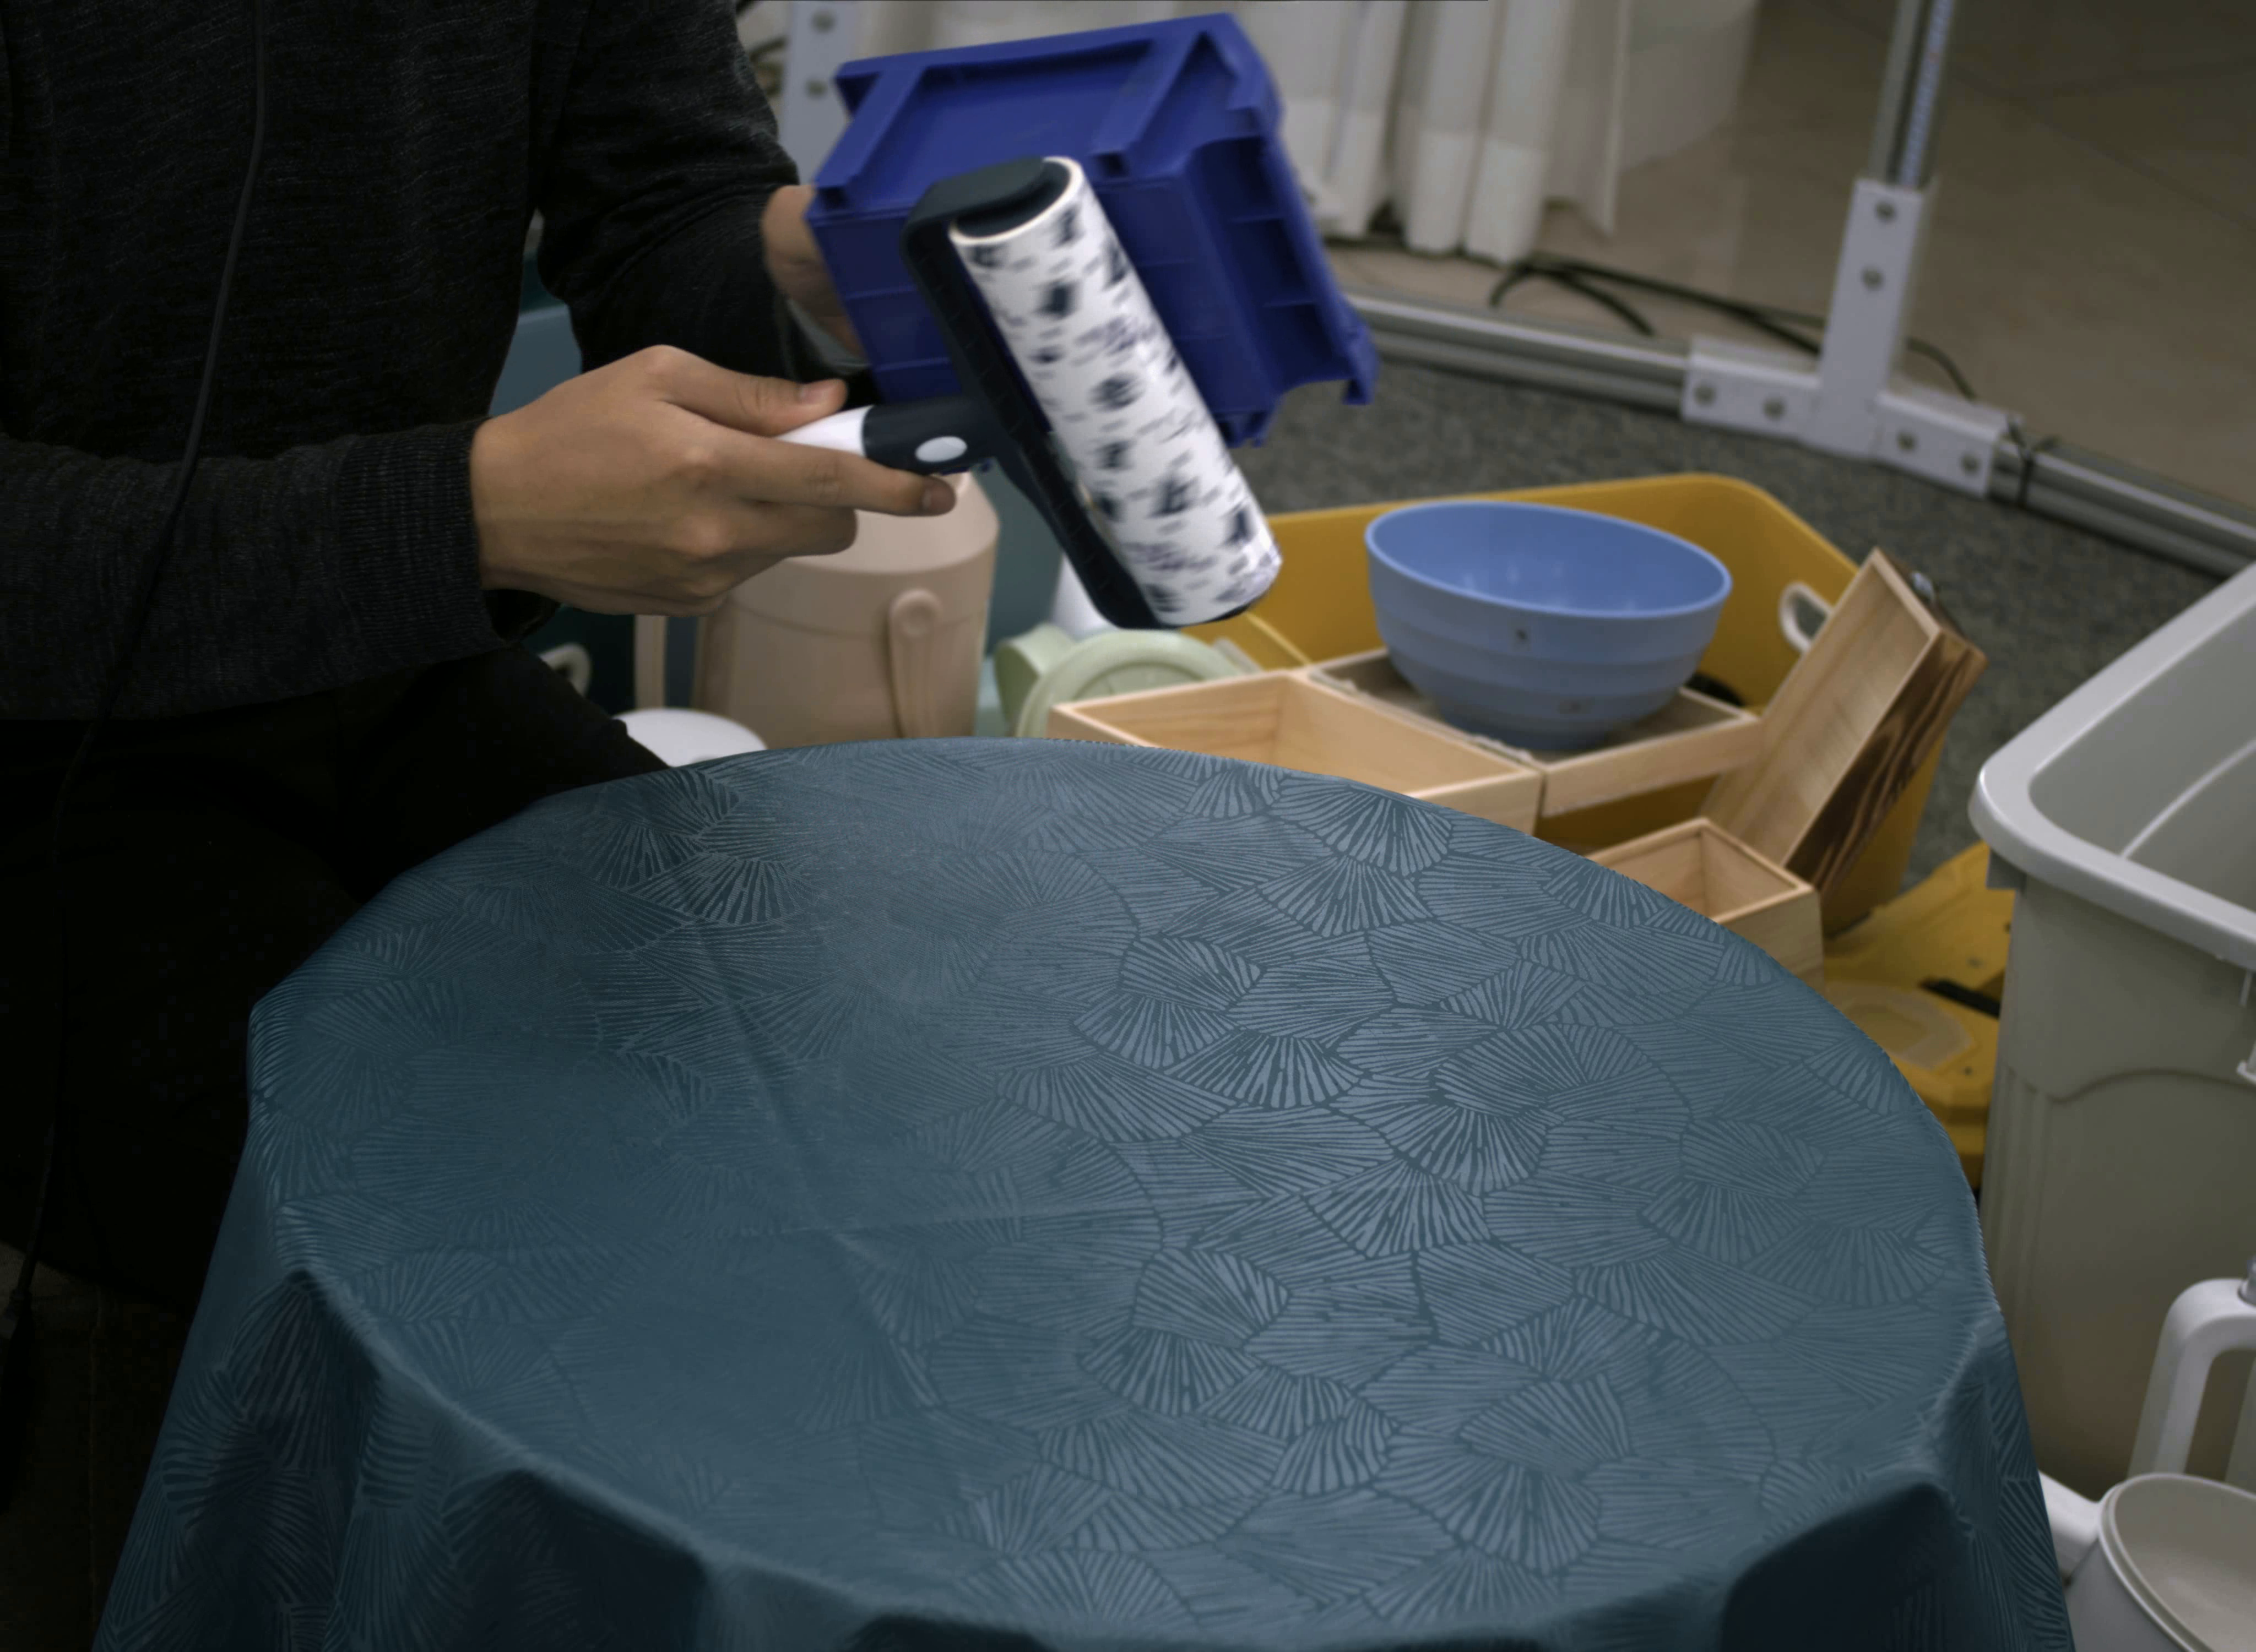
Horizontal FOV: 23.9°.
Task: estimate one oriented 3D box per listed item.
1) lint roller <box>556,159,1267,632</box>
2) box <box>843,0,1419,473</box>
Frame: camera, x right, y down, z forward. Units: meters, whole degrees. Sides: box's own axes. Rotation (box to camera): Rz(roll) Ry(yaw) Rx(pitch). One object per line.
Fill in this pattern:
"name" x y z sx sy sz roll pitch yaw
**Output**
"lint roller" -0.092 -0.123 1.797 0.247 0.175 0.050 -12 34 29
"box" 0.002 -0.196 1.785 0.180 0.123 0.082 -6 37 27
